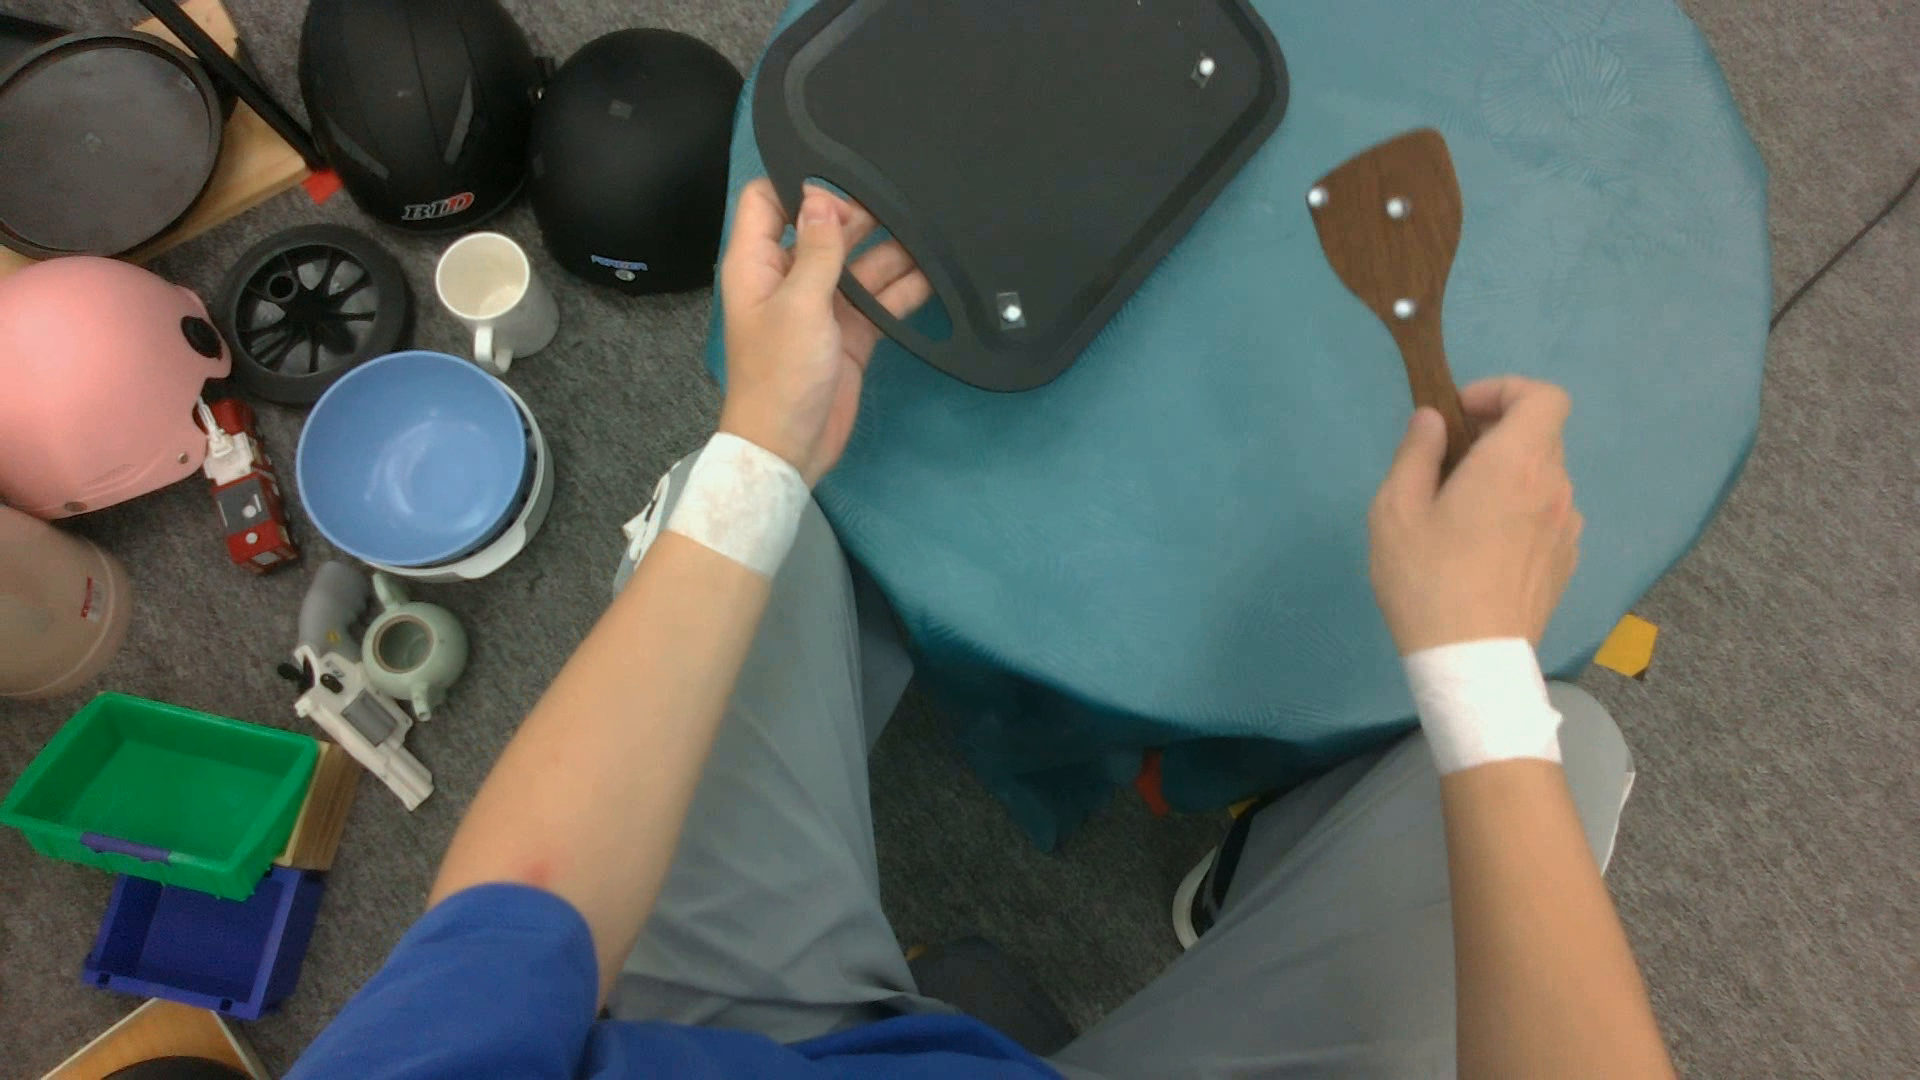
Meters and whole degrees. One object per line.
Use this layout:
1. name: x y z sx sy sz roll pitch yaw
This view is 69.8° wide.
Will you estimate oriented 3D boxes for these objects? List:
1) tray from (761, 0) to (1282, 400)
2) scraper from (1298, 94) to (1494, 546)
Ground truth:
1. tray: 0.044 -0.226 0.727 0.211 0.010 0.327 45 64 -13
2. scraper: 0.212 -0.101 0.648 0.011 0.075 0.211 -9 82 -31
